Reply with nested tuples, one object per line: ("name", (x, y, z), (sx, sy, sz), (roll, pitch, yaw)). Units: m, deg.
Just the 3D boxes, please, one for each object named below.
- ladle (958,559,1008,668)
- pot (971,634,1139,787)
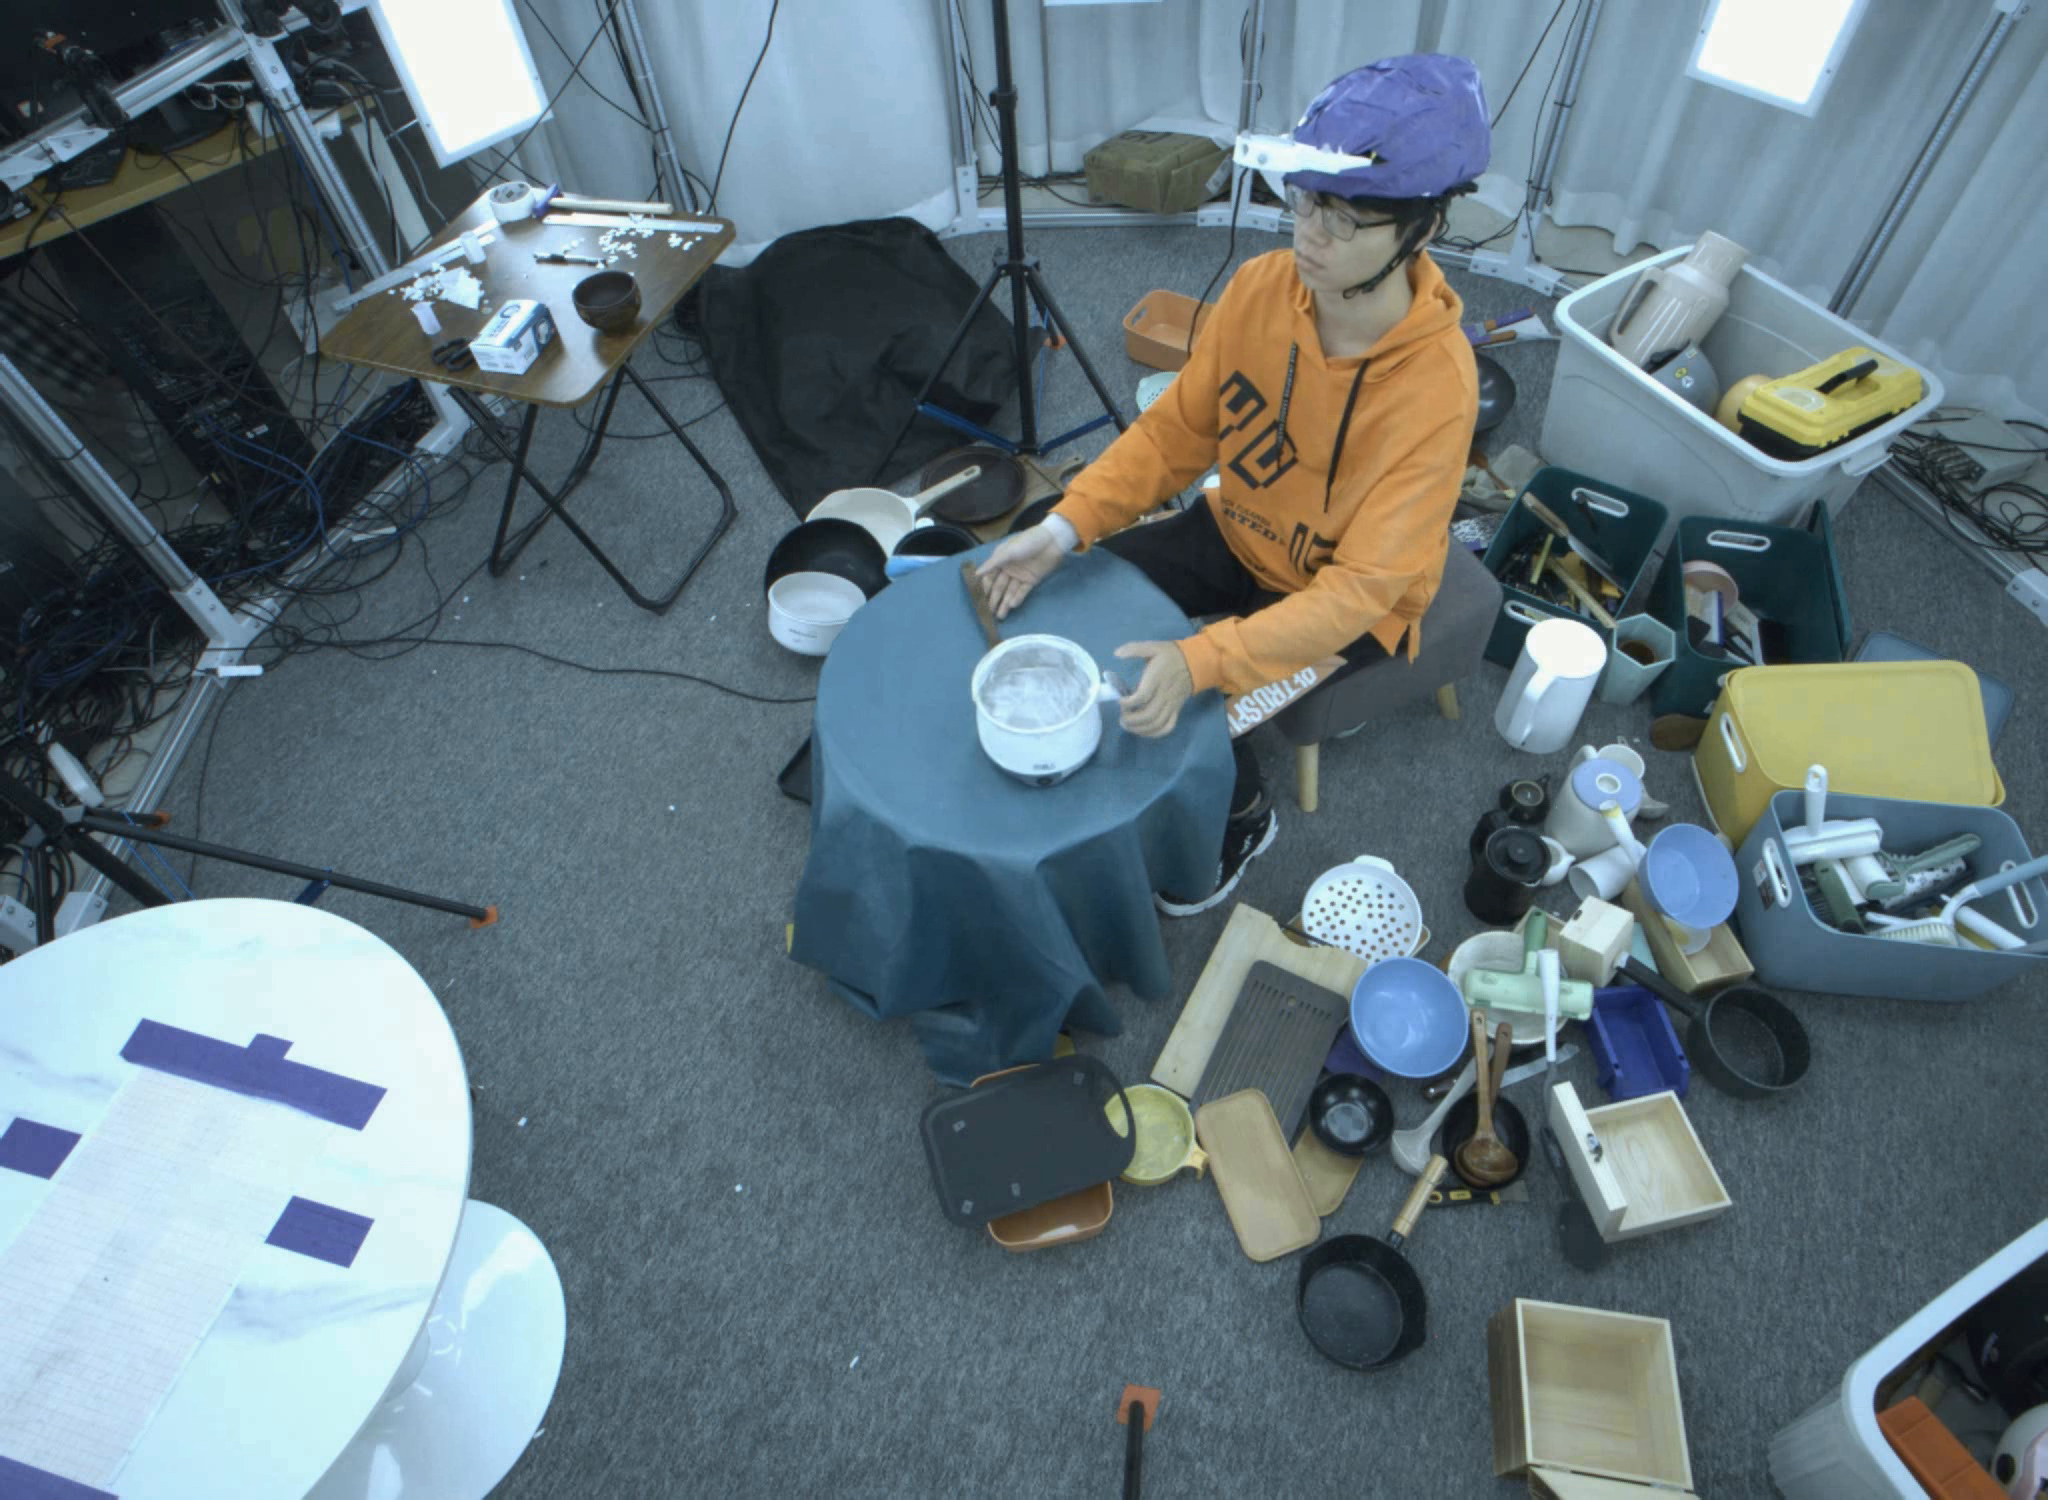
("ladle", (-0.063, -0.220, 1.900), (0.076, 0.072, 0.270), (-16, 57, -5))
("pot", (0.047, -0.059, 1.742), (0.234, 0.138, 0.176), (-7, 55, -2))
